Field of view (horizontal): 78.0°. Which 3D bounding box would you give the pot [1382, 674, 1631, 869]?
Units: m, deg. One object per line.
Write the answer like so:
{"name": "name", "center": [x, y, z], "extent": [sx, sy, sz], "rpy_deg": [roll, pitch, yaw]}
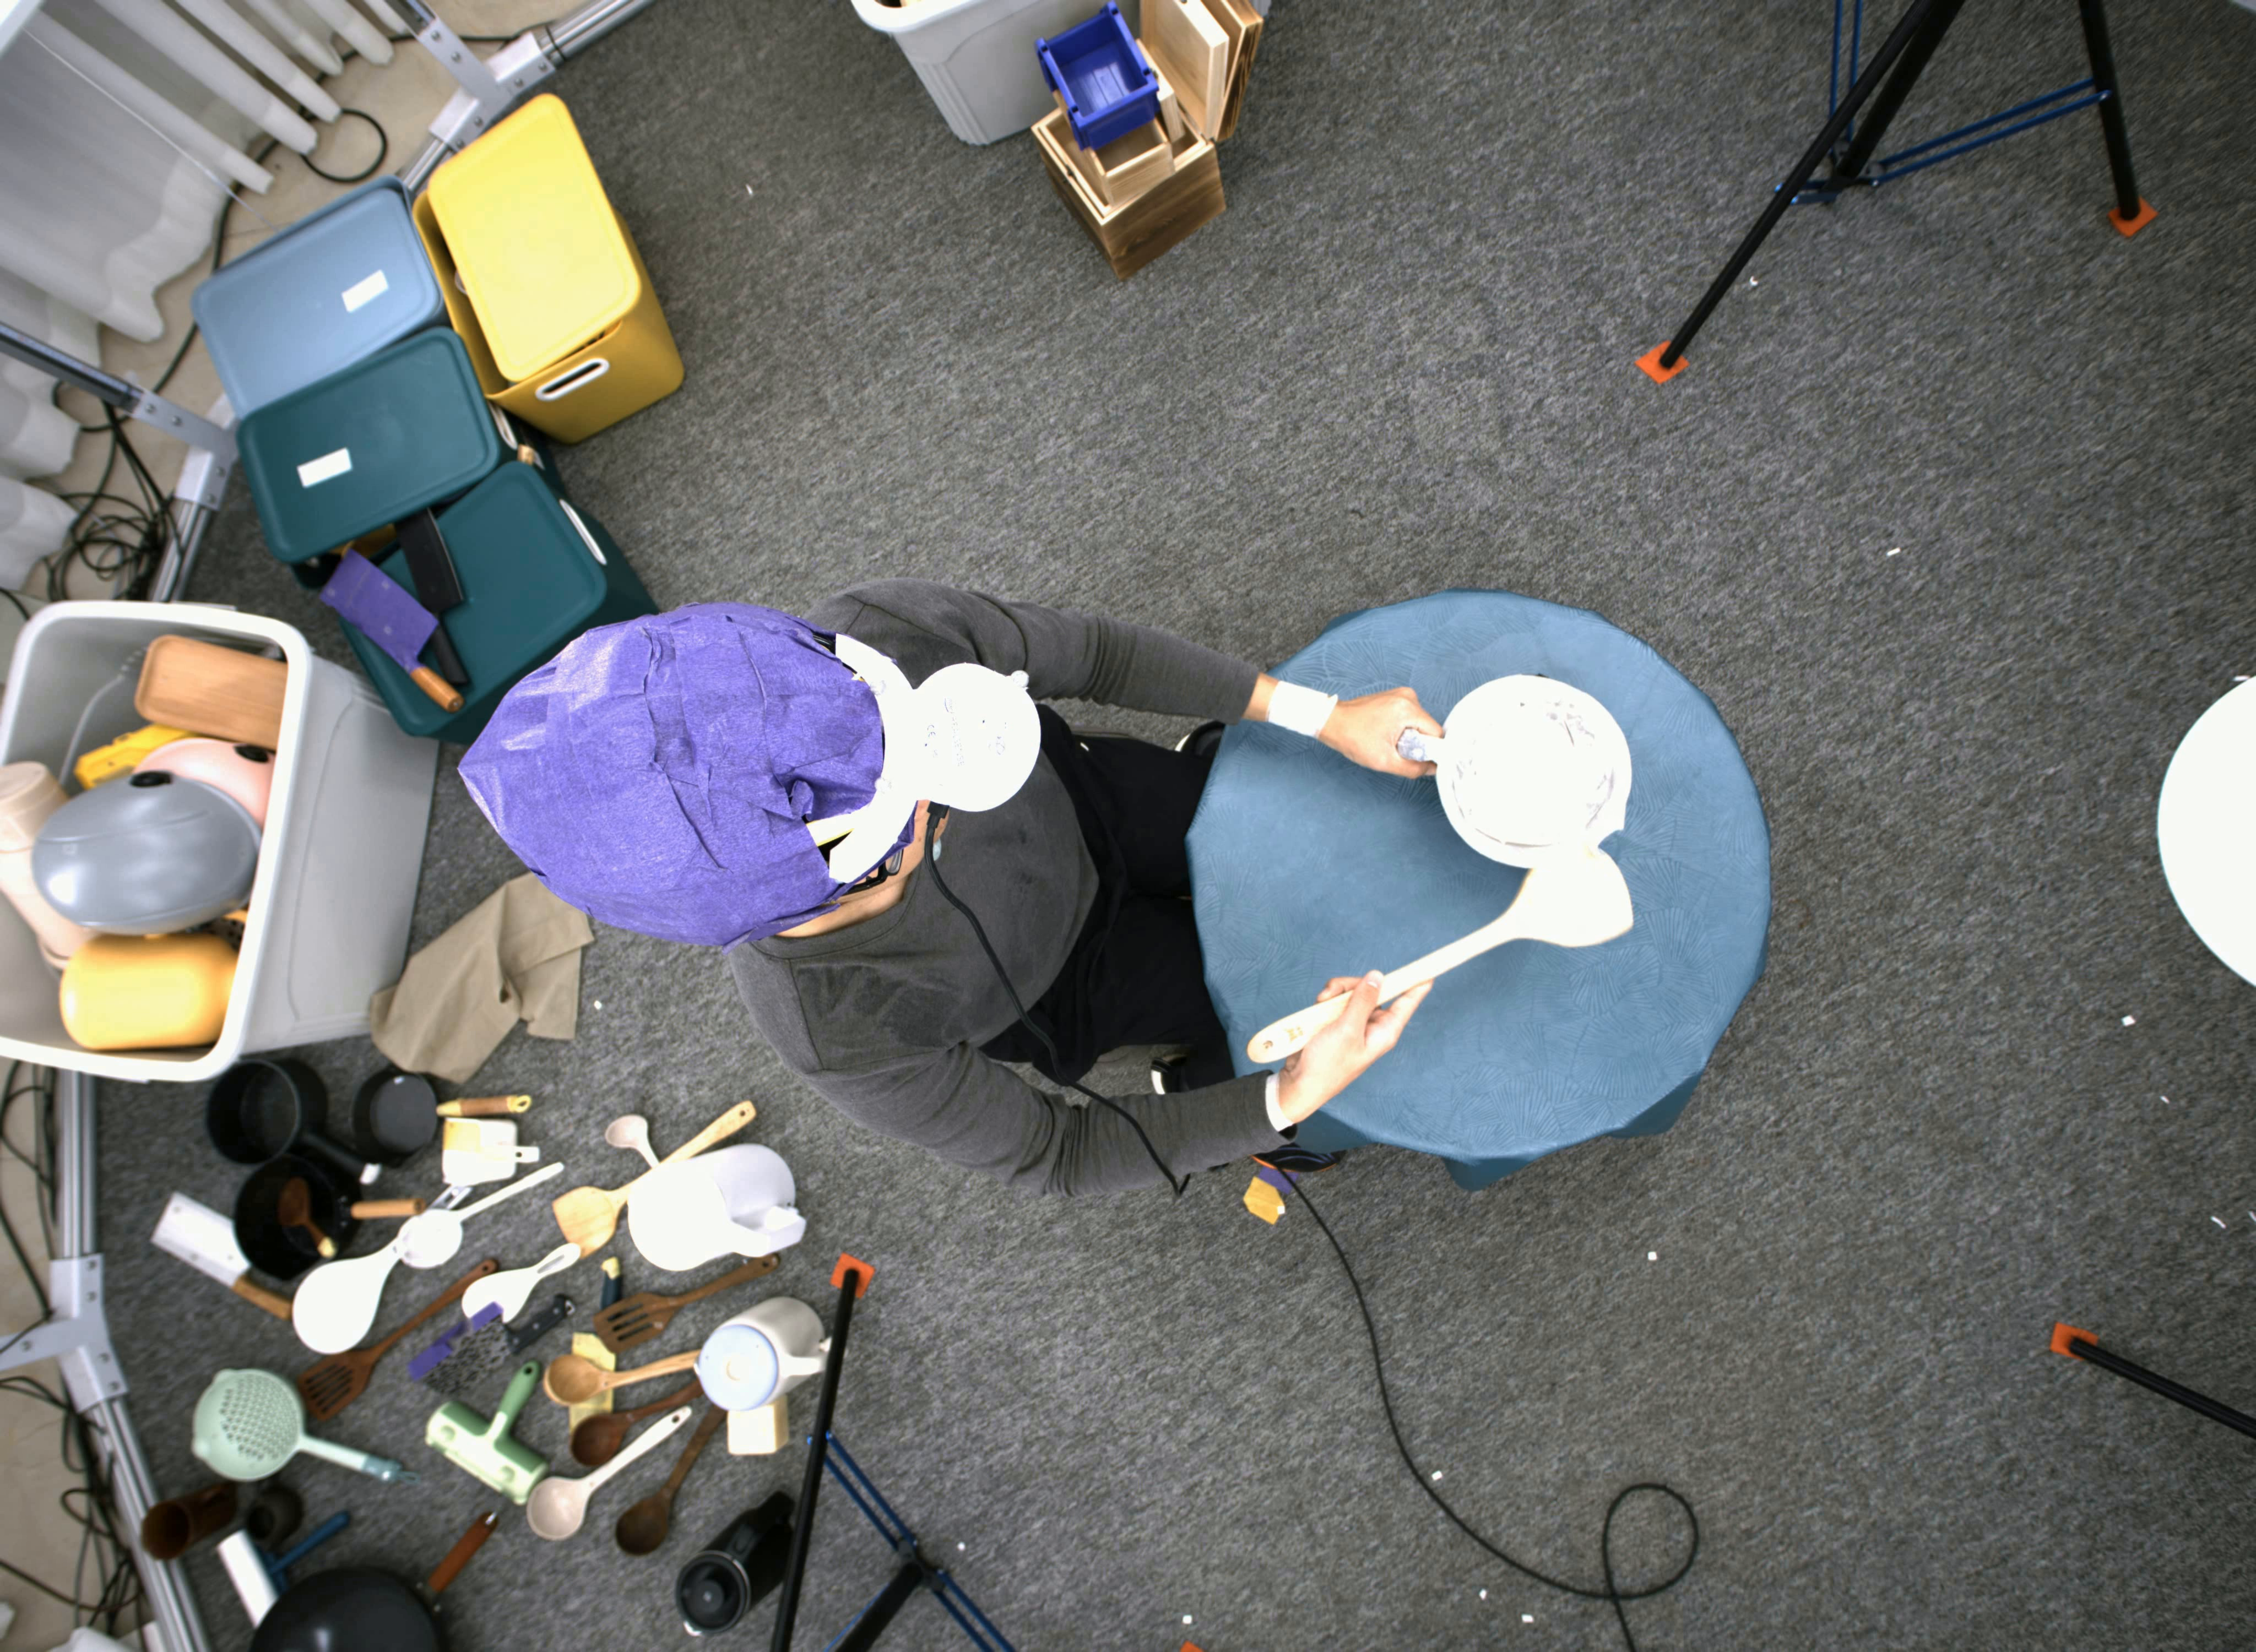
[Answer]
{"name": "pot", "center": [0.365, -0.066, 1.348], "extent": [0.234, 0.135, 0.181], "rpy_deg": [13, 104, 8]}

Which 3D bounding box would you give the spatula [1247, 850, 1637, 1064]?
{"name": "spatula", "center": [0.282, 0.127, 1.226], "extent": [0.388, 0.018, 0.095], "rpy_deg": [-22, 85, -12]}
